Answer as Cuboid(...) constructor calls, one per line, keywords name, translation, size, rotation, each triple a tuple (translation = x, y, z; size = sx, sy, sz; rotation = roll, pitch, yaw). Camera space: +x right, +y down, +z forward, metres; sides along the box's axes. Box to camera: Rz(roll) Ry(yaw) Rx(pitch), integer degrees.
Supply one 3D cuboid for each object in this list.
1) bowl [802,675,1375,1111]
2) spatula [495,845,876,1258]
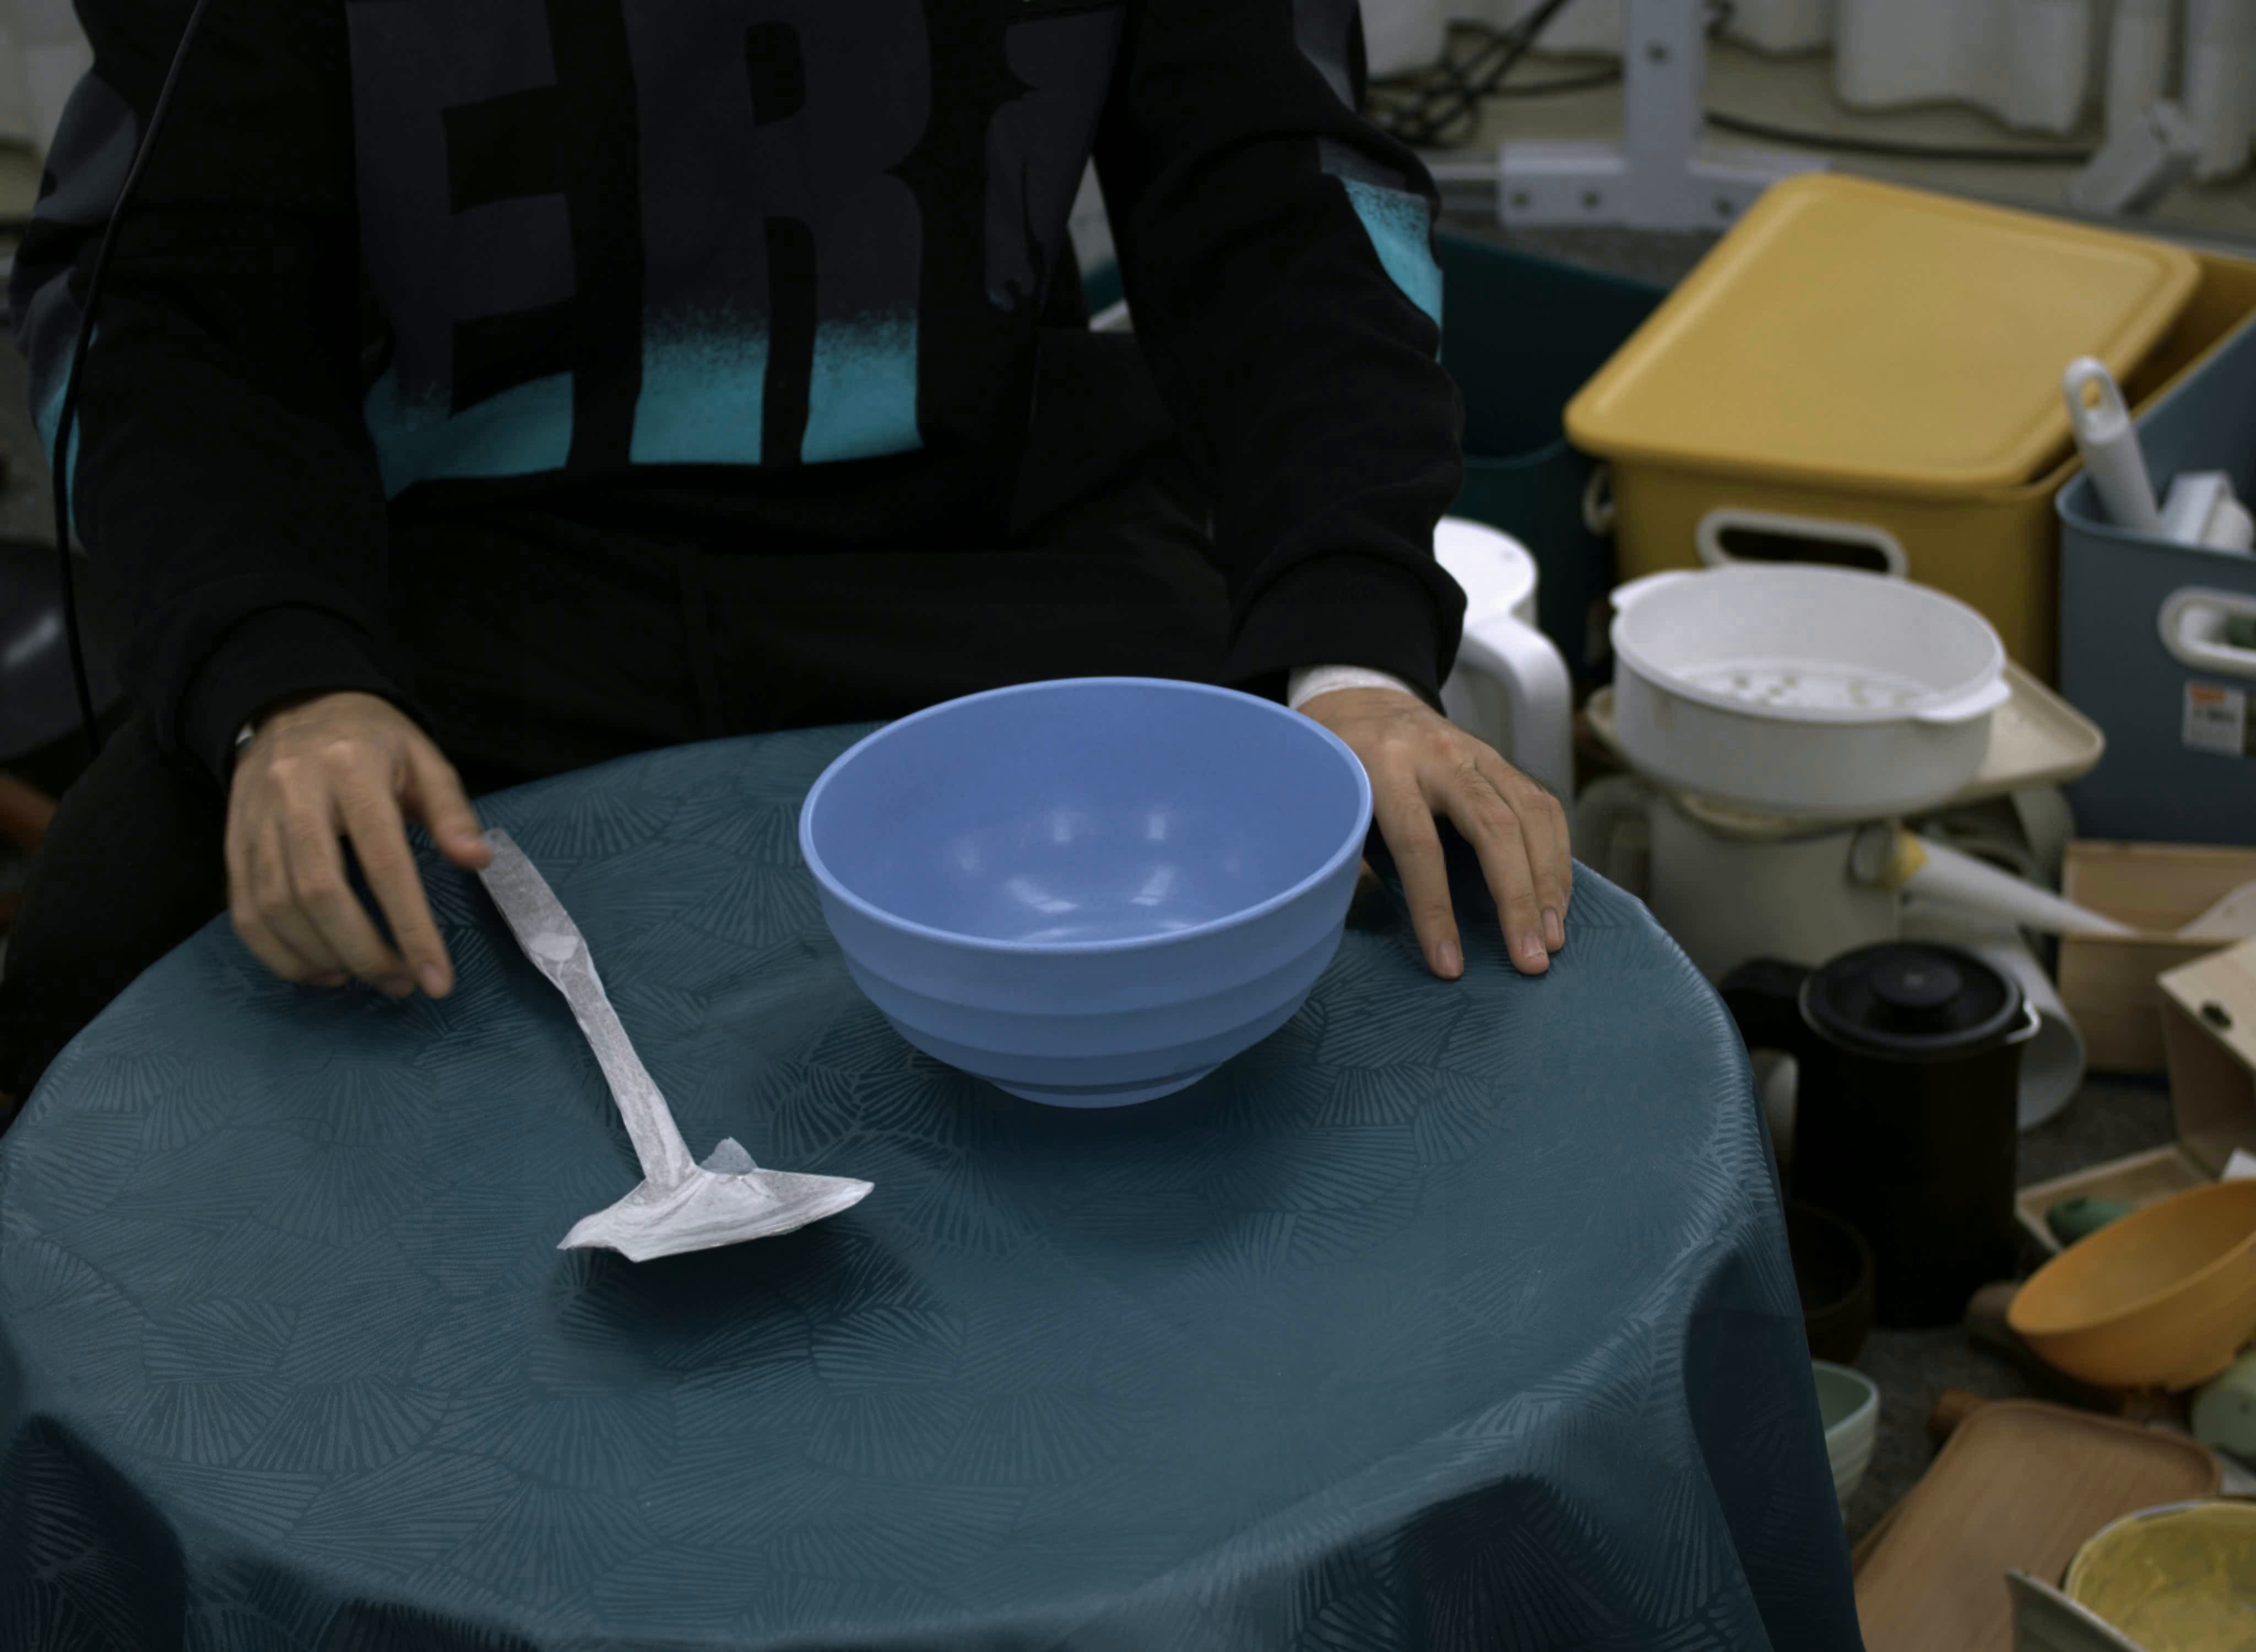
Cuboid(name="bowl", translation=(-0.011, 0.034, 1.930), size=(0.195, 0.094, 0.199), rotation=(-2, 28, 2))
Cuboid(name="spatula", translation=(-0.176, 0.070, 1.938), size=(0.099, 0.044, 0.368), rotation=(-13, 29, -14))
